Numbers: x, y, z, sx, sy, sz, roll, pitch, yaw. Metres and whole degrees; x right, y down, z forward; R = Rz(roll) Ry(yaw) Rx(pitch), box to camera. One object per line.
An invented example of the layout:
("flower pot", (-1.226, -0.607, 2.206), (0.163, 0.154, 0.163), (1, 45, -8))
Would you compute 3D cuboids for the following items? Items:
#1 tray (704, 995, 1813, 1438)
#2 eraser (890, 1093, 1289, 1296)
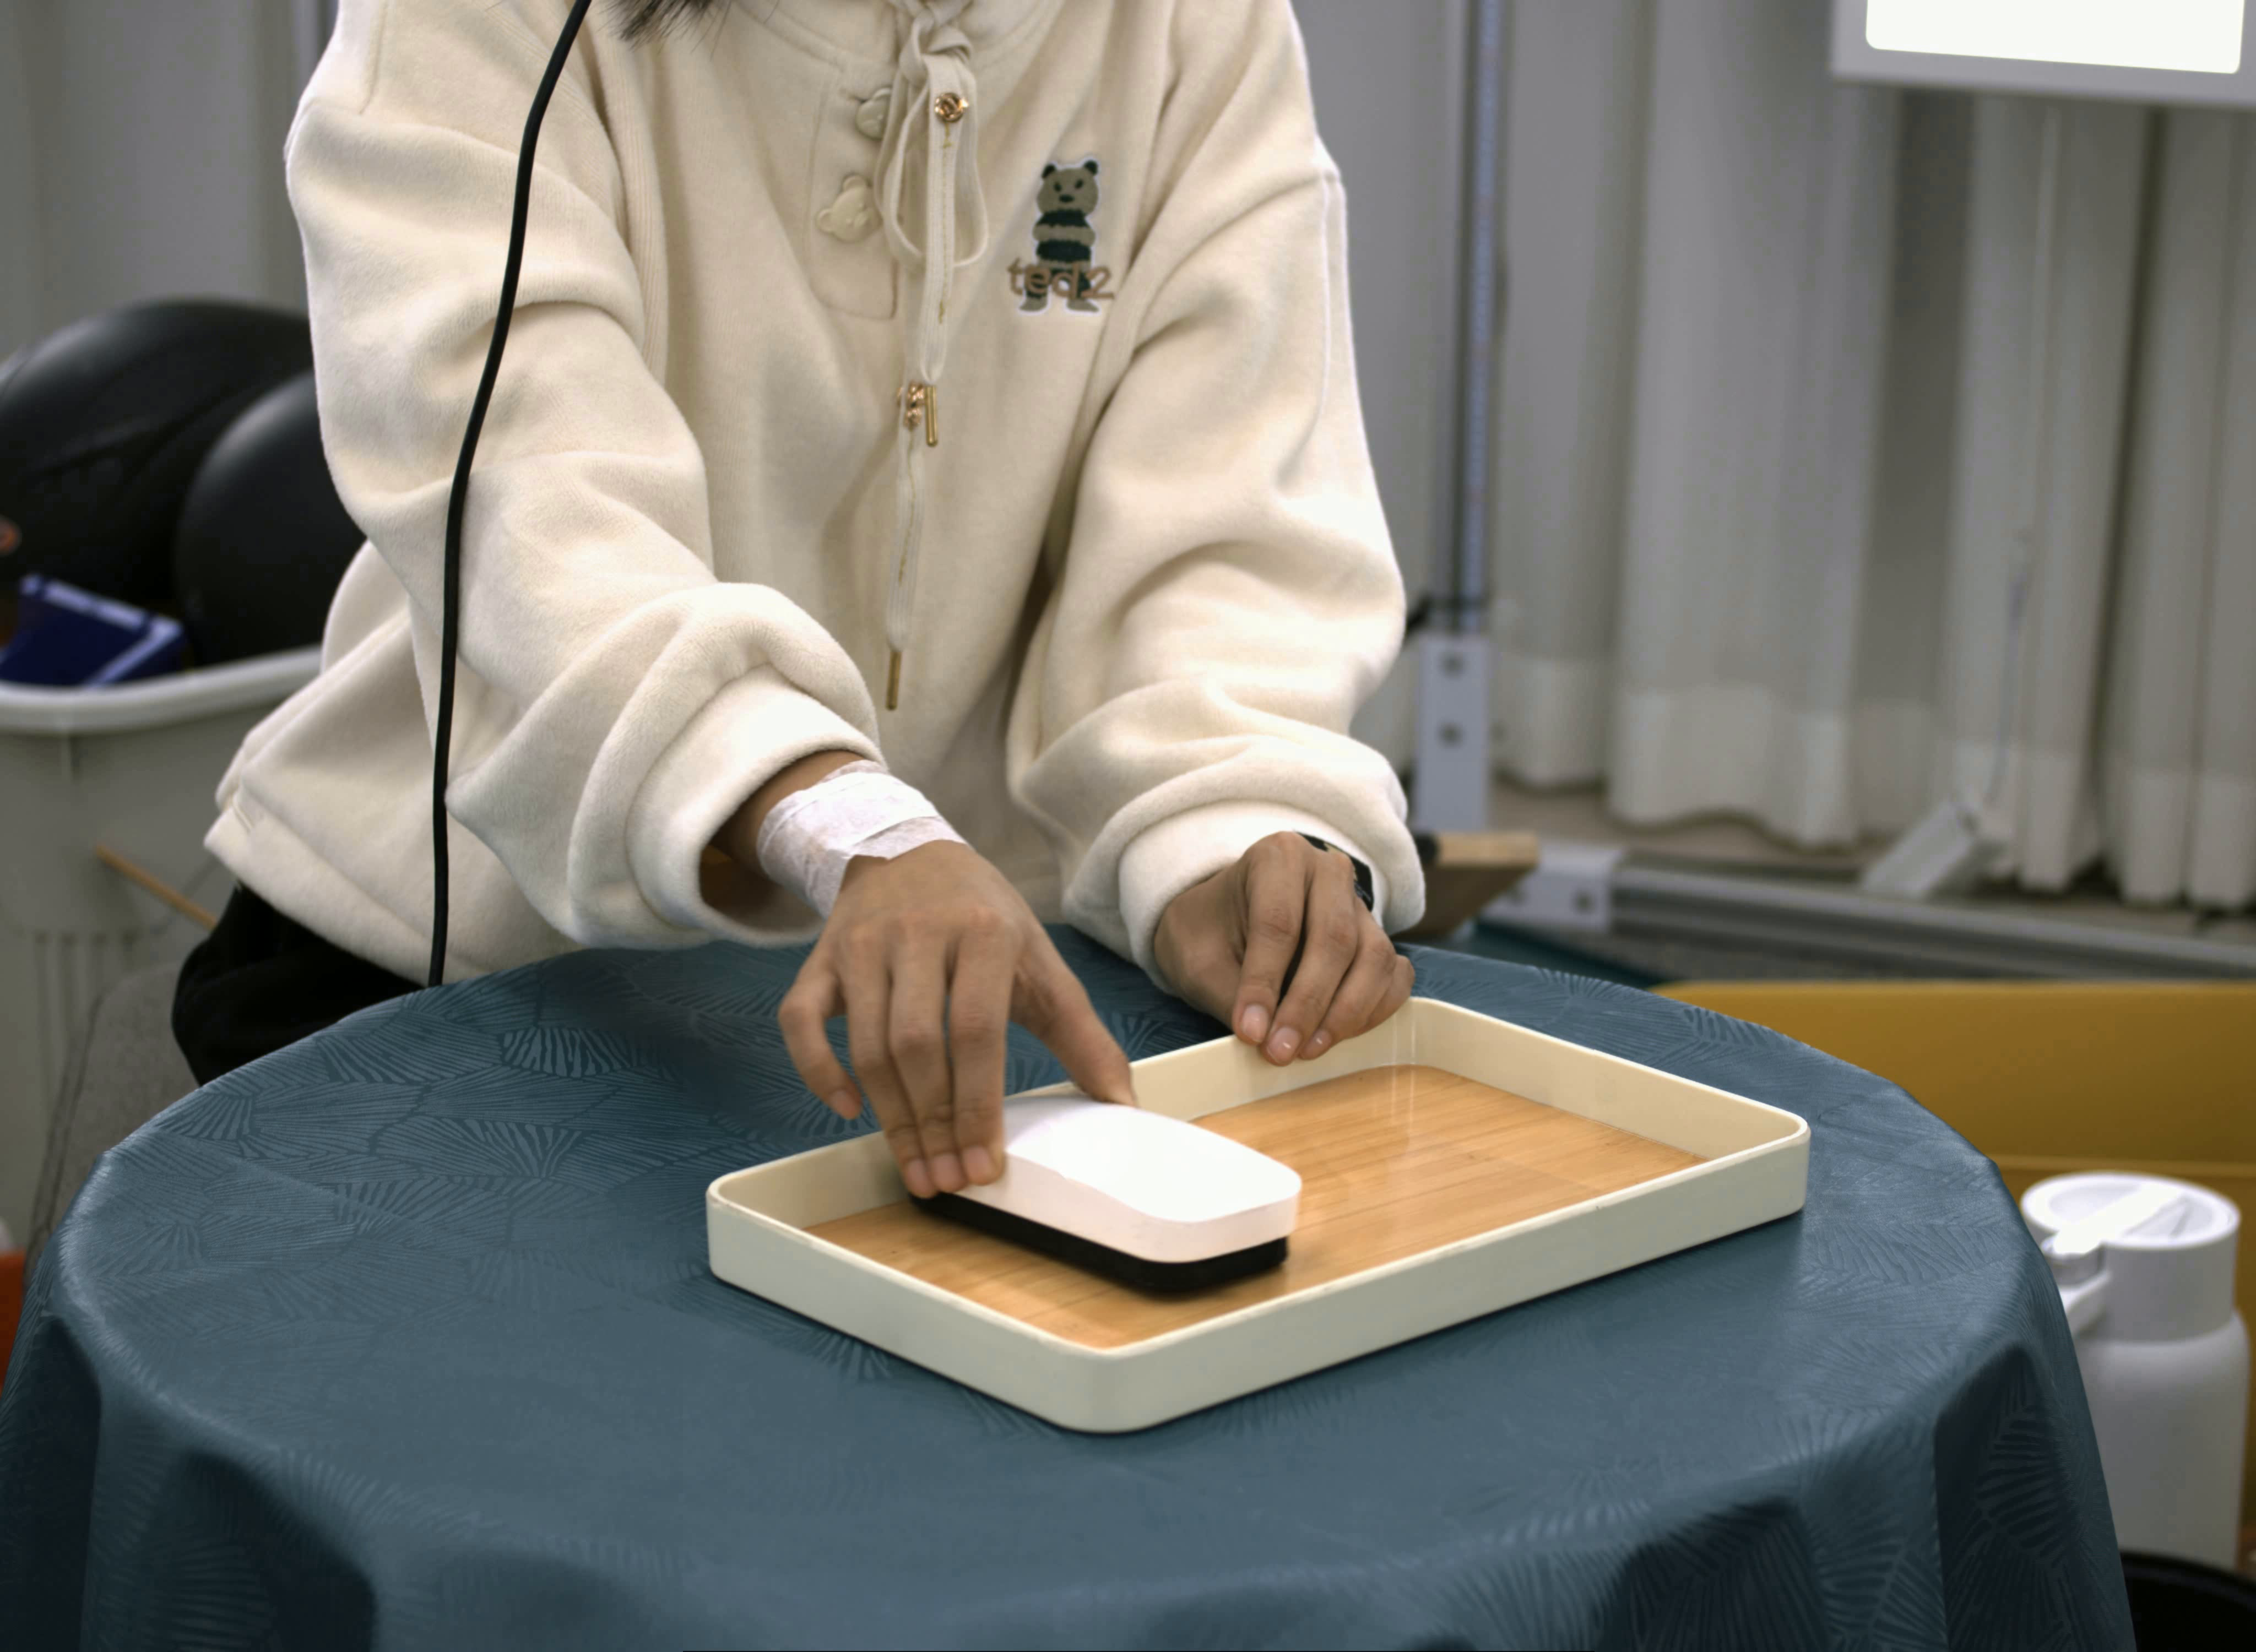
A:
("tray", (0.042, 0.111, 1.576), (0.302, 0.027, 0.189), (-13, 21, -40))
("eraser", (-0.012, 0.105, 1.562), (0.064, 0.035, 0.129), (-11, 18, -40))
